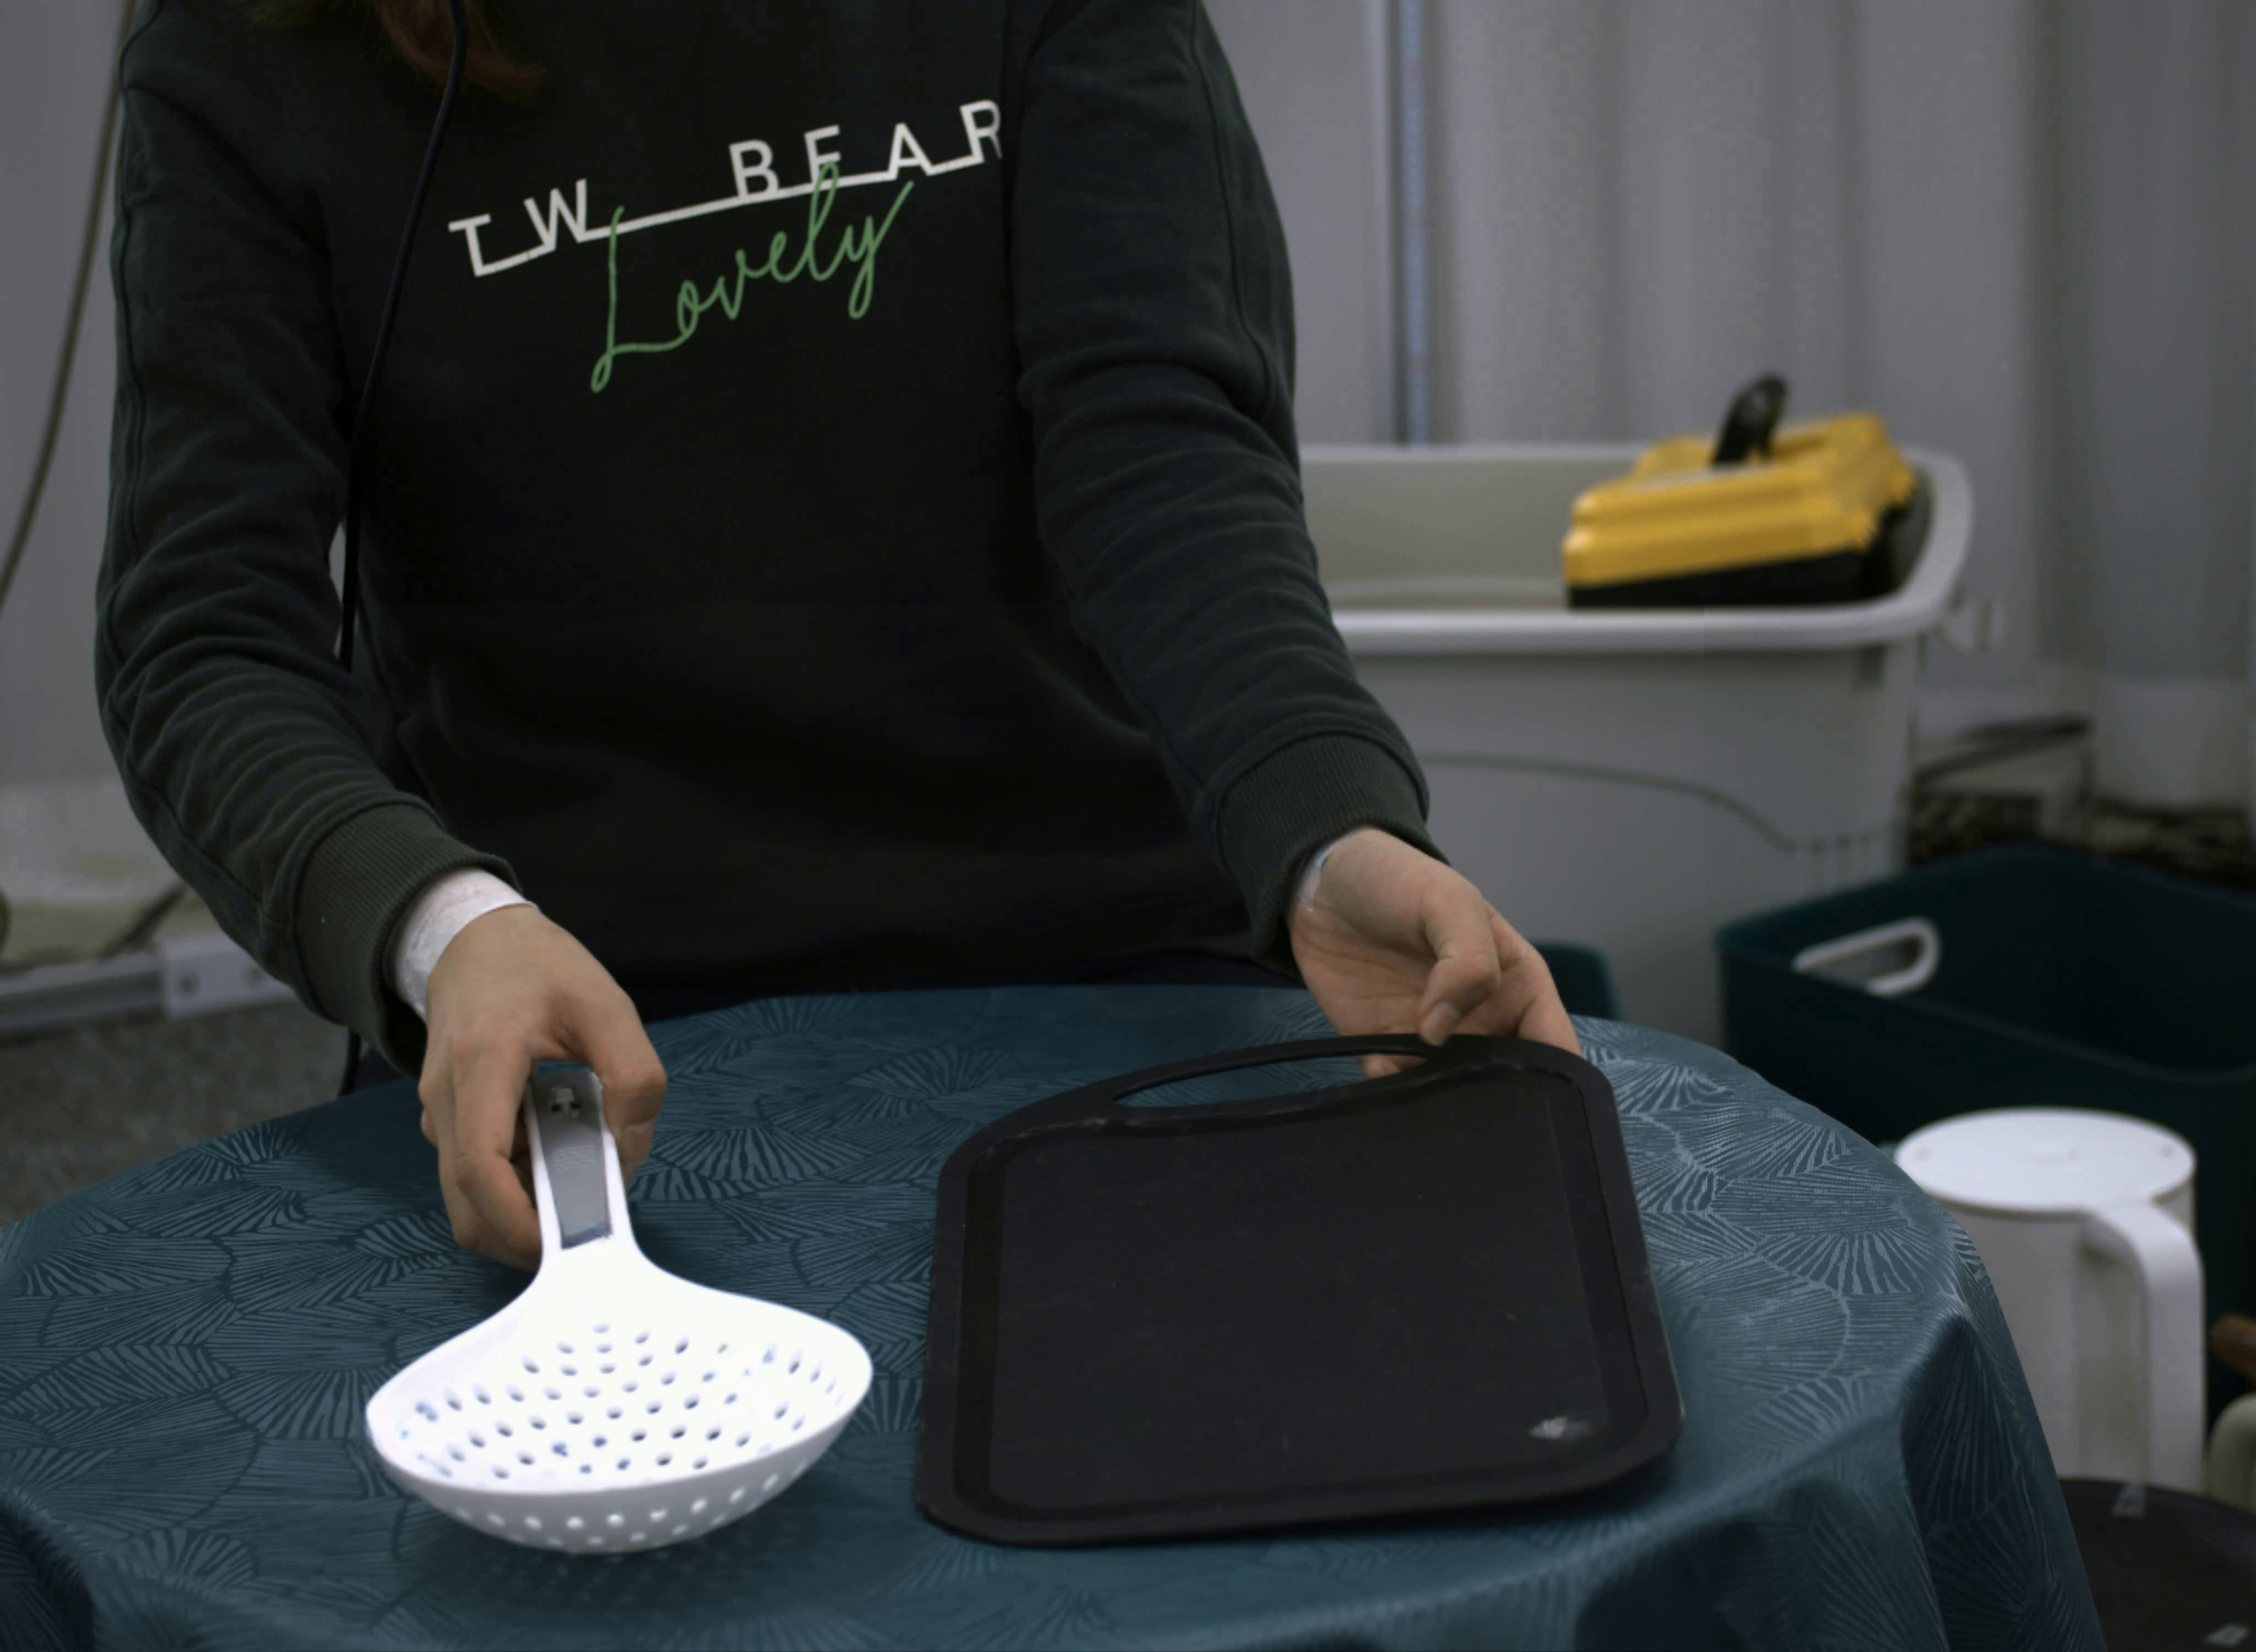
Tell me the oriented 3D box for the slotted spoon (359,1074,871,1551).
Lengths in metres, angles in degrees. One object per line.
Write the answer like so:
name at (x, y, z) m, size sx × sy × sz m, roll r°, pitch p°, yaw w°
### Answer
slotted spoon at (-0.151, 0.130, 1.558) m, size 0.135 × 0.045 × 0.353 m, roll -5°, pitch 20°, yaw -7°

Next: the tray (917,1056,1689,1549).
tray at (0.047, 0.129, 1.581) m, size 0.210 × 0.010 × 0.328 m, roll -5°, pitch 19°, yaw 2°
